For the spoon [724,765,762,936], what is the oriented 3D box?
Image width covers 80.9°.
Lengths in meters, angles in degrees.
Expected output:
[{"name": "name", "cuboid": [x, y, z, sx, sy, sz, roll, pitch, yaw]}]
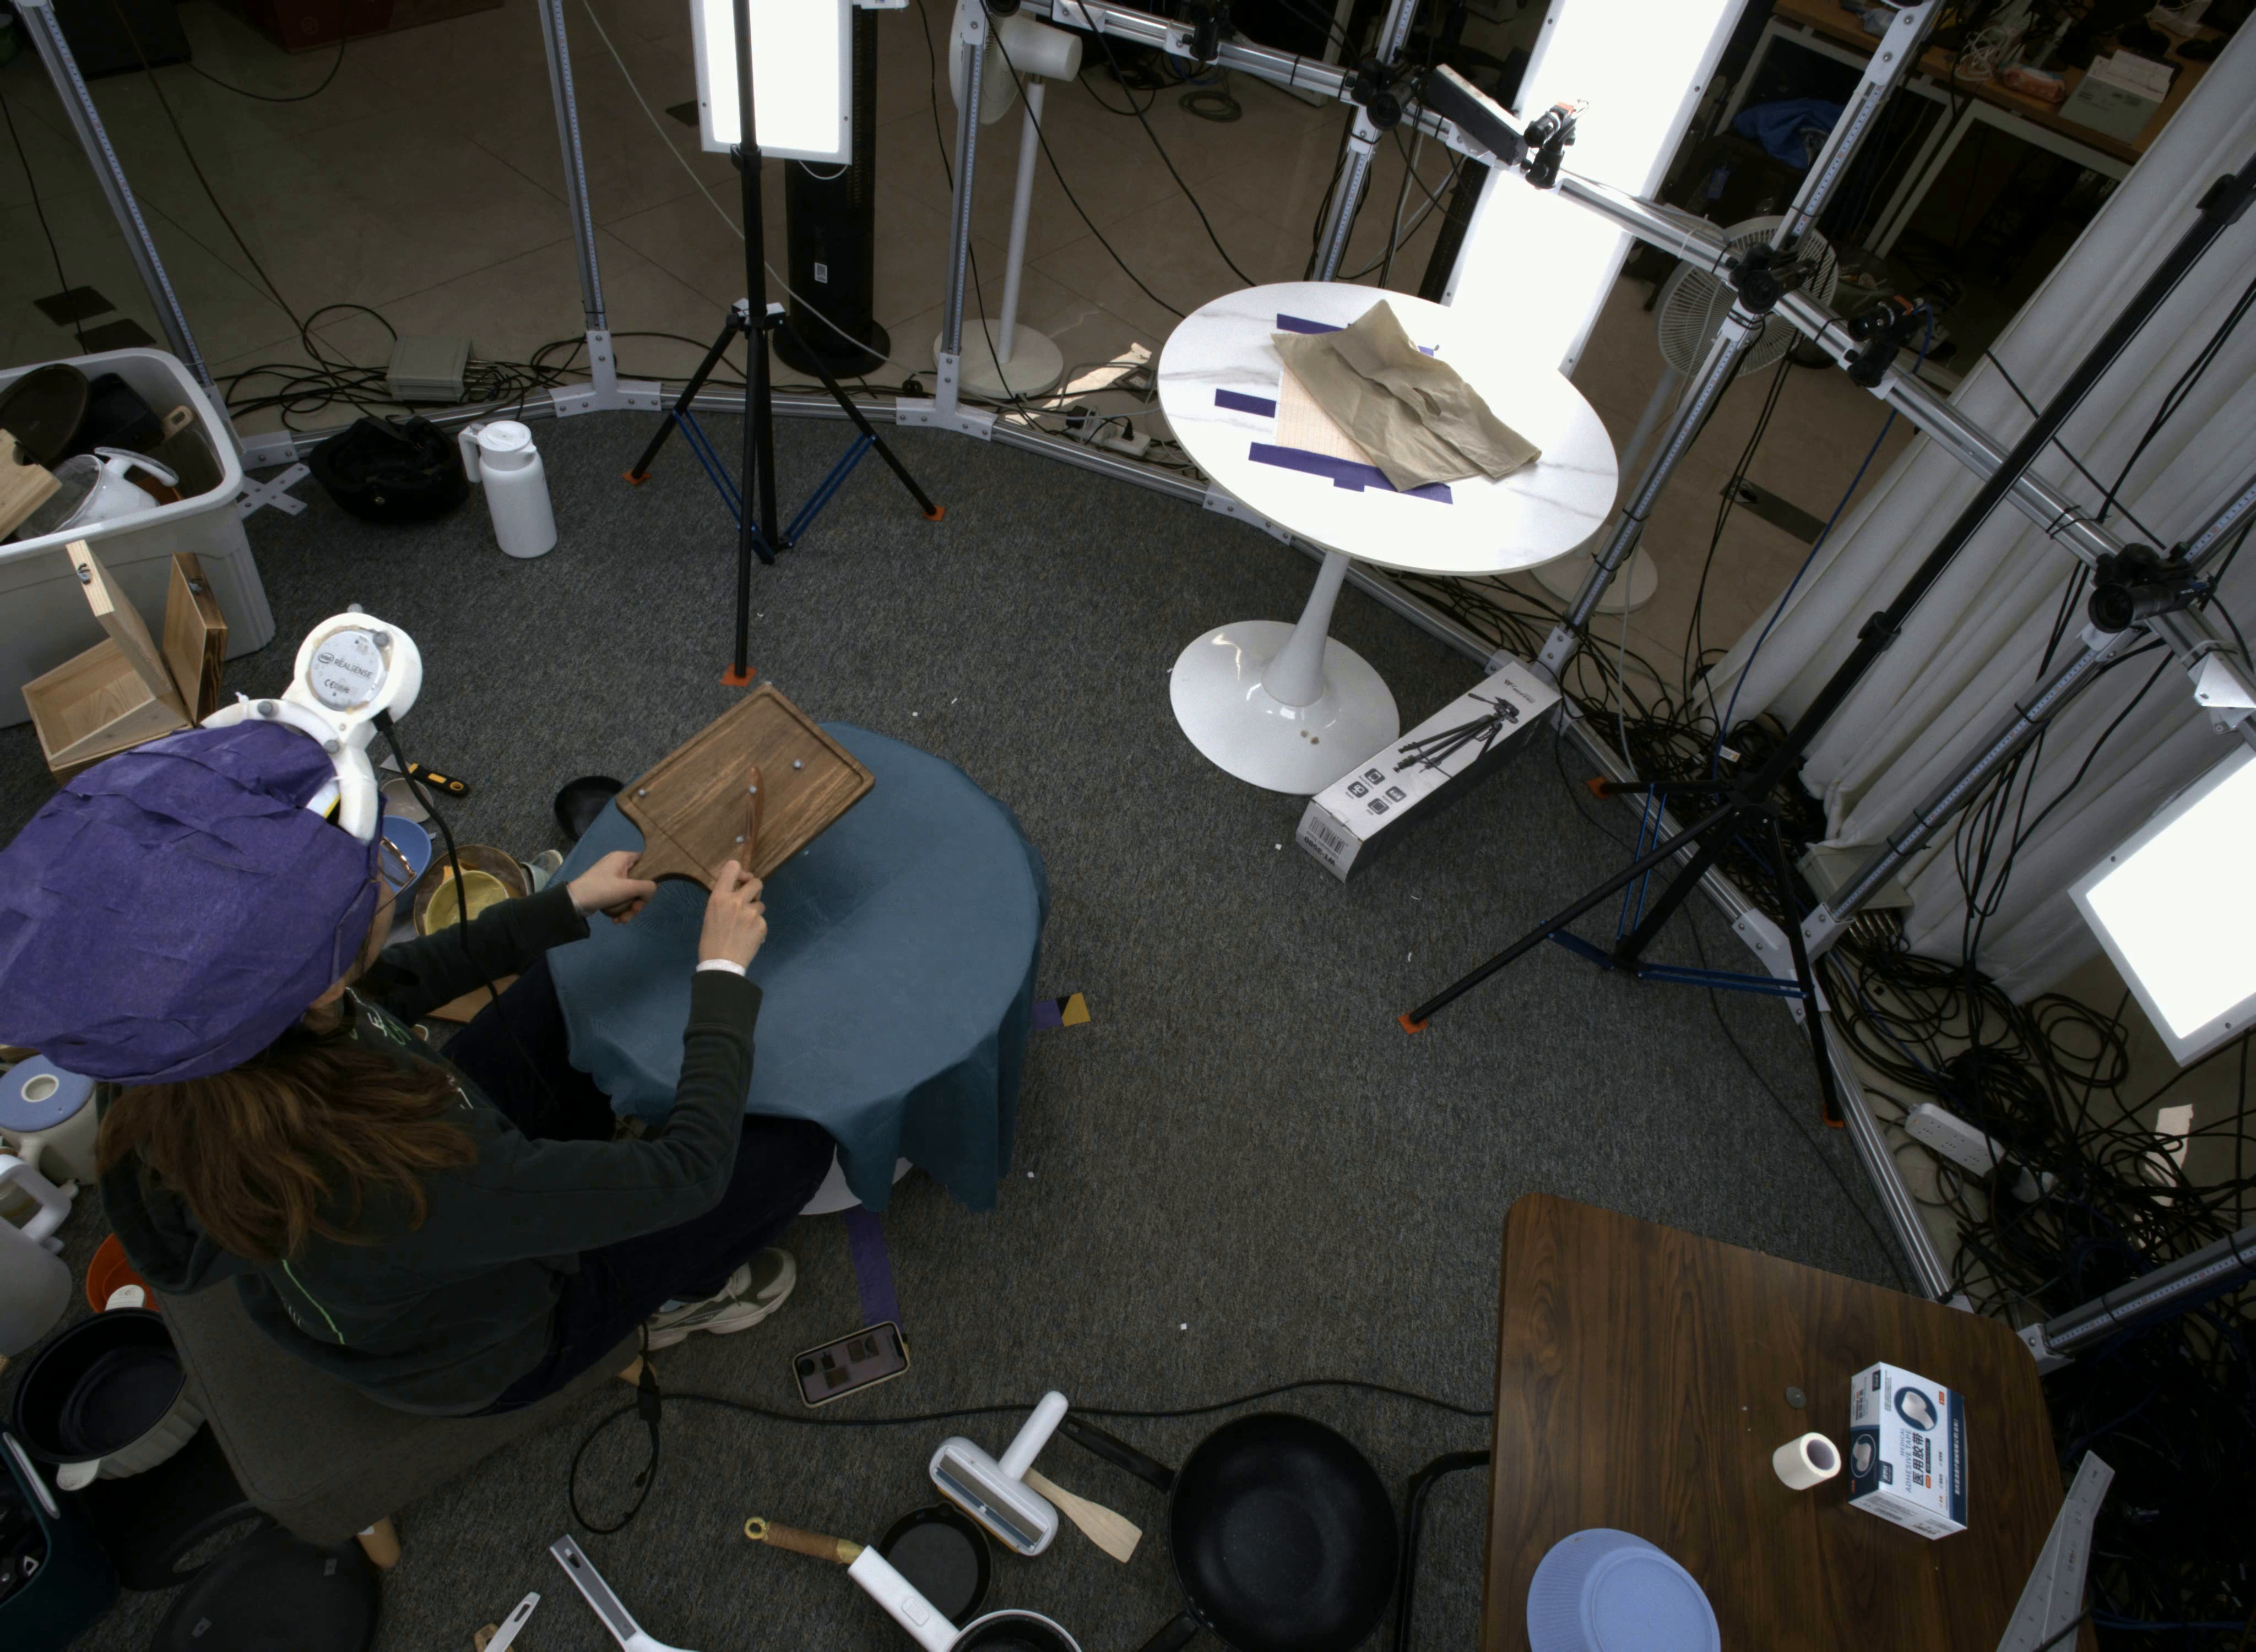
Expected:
[{"name": "spoon", "cuboid": [-0.432, 0.025, 1.461, 0.017, 0.077, 0.212, 5, 57, -9]}]

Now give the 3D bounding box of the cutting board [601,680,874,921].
[{"name": "cutting board", "cuboid": [-0.493, -0.014, 1.543, 0.200, 0.023, 0.352, 42, 59, 4]}]
